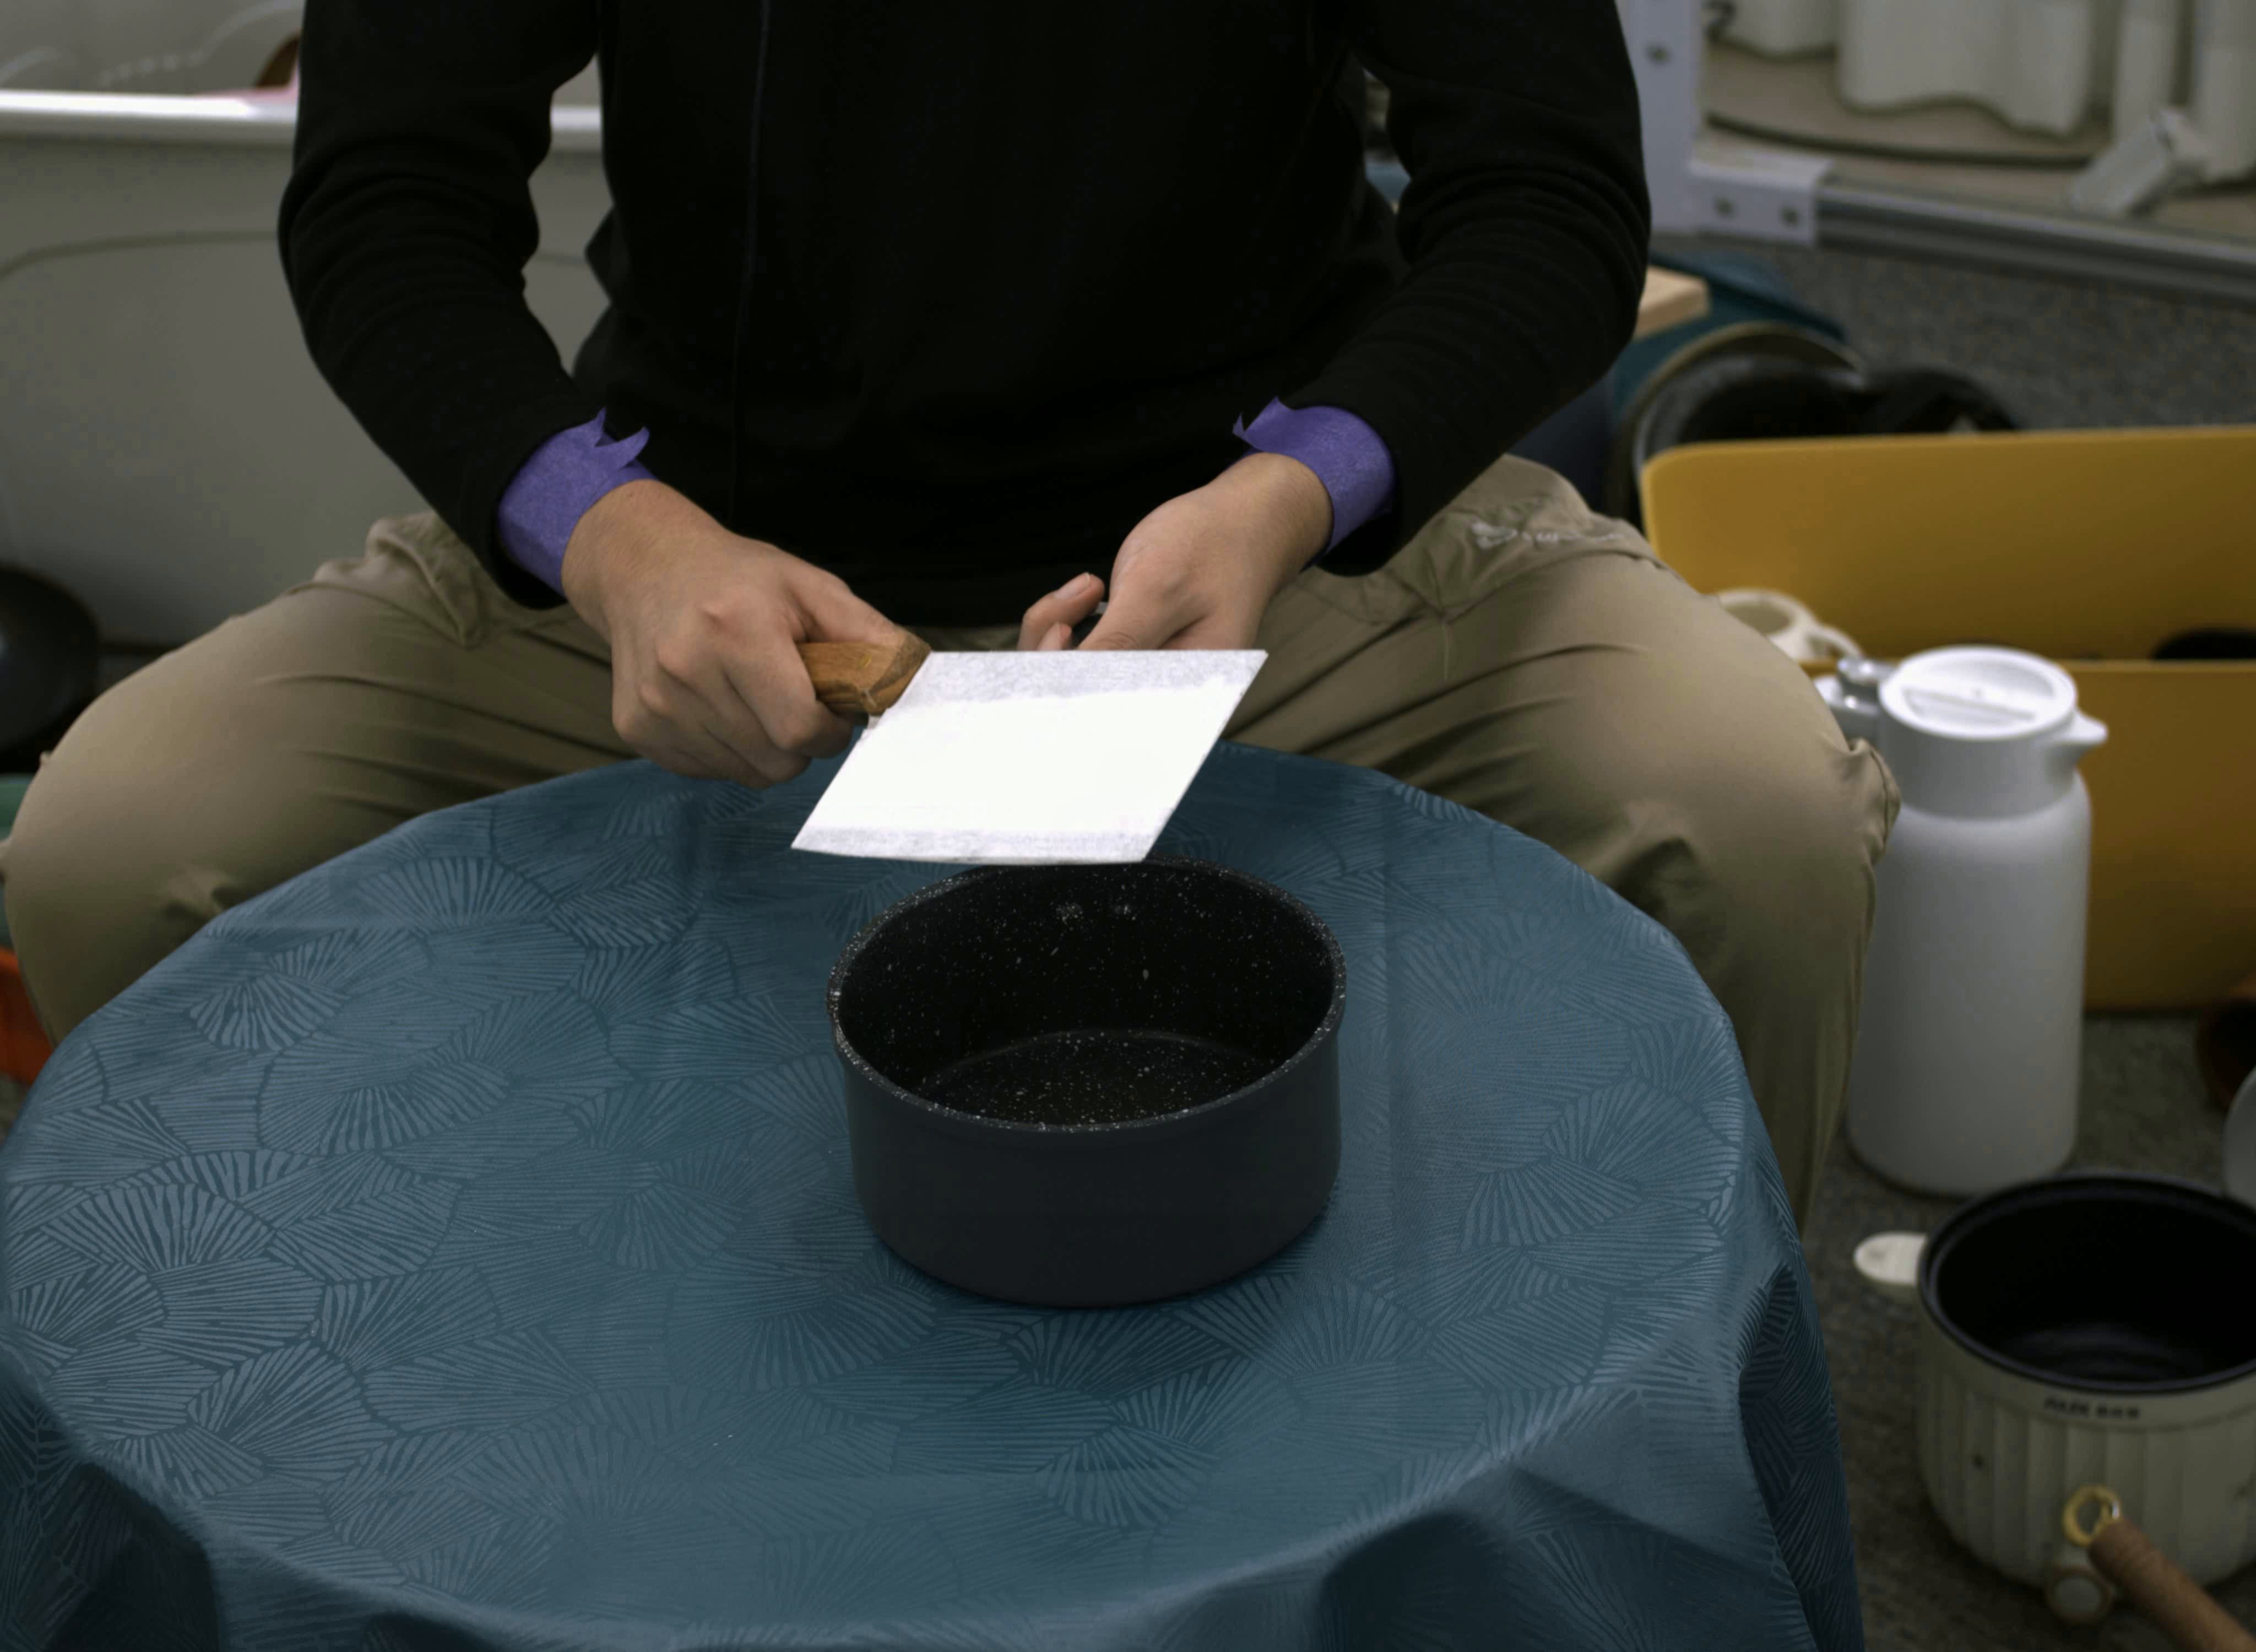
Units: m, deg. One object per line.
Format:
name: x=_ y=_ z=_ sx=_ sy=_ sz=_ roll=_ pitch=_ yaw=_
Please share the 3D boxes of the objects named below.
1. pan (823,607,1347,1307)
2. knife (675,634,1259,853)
pan: x=-0.007 y=0.041 z=1.914 sx=0.171 sy=0.085 sz=0.334 roll=0 pitch=31 yaw=4
knife: x=-0.072 y=-0.028 z=1.957 sx=0.303 sy=0.021 sz=0.094 roll=1 pitch=52 yaw=49
